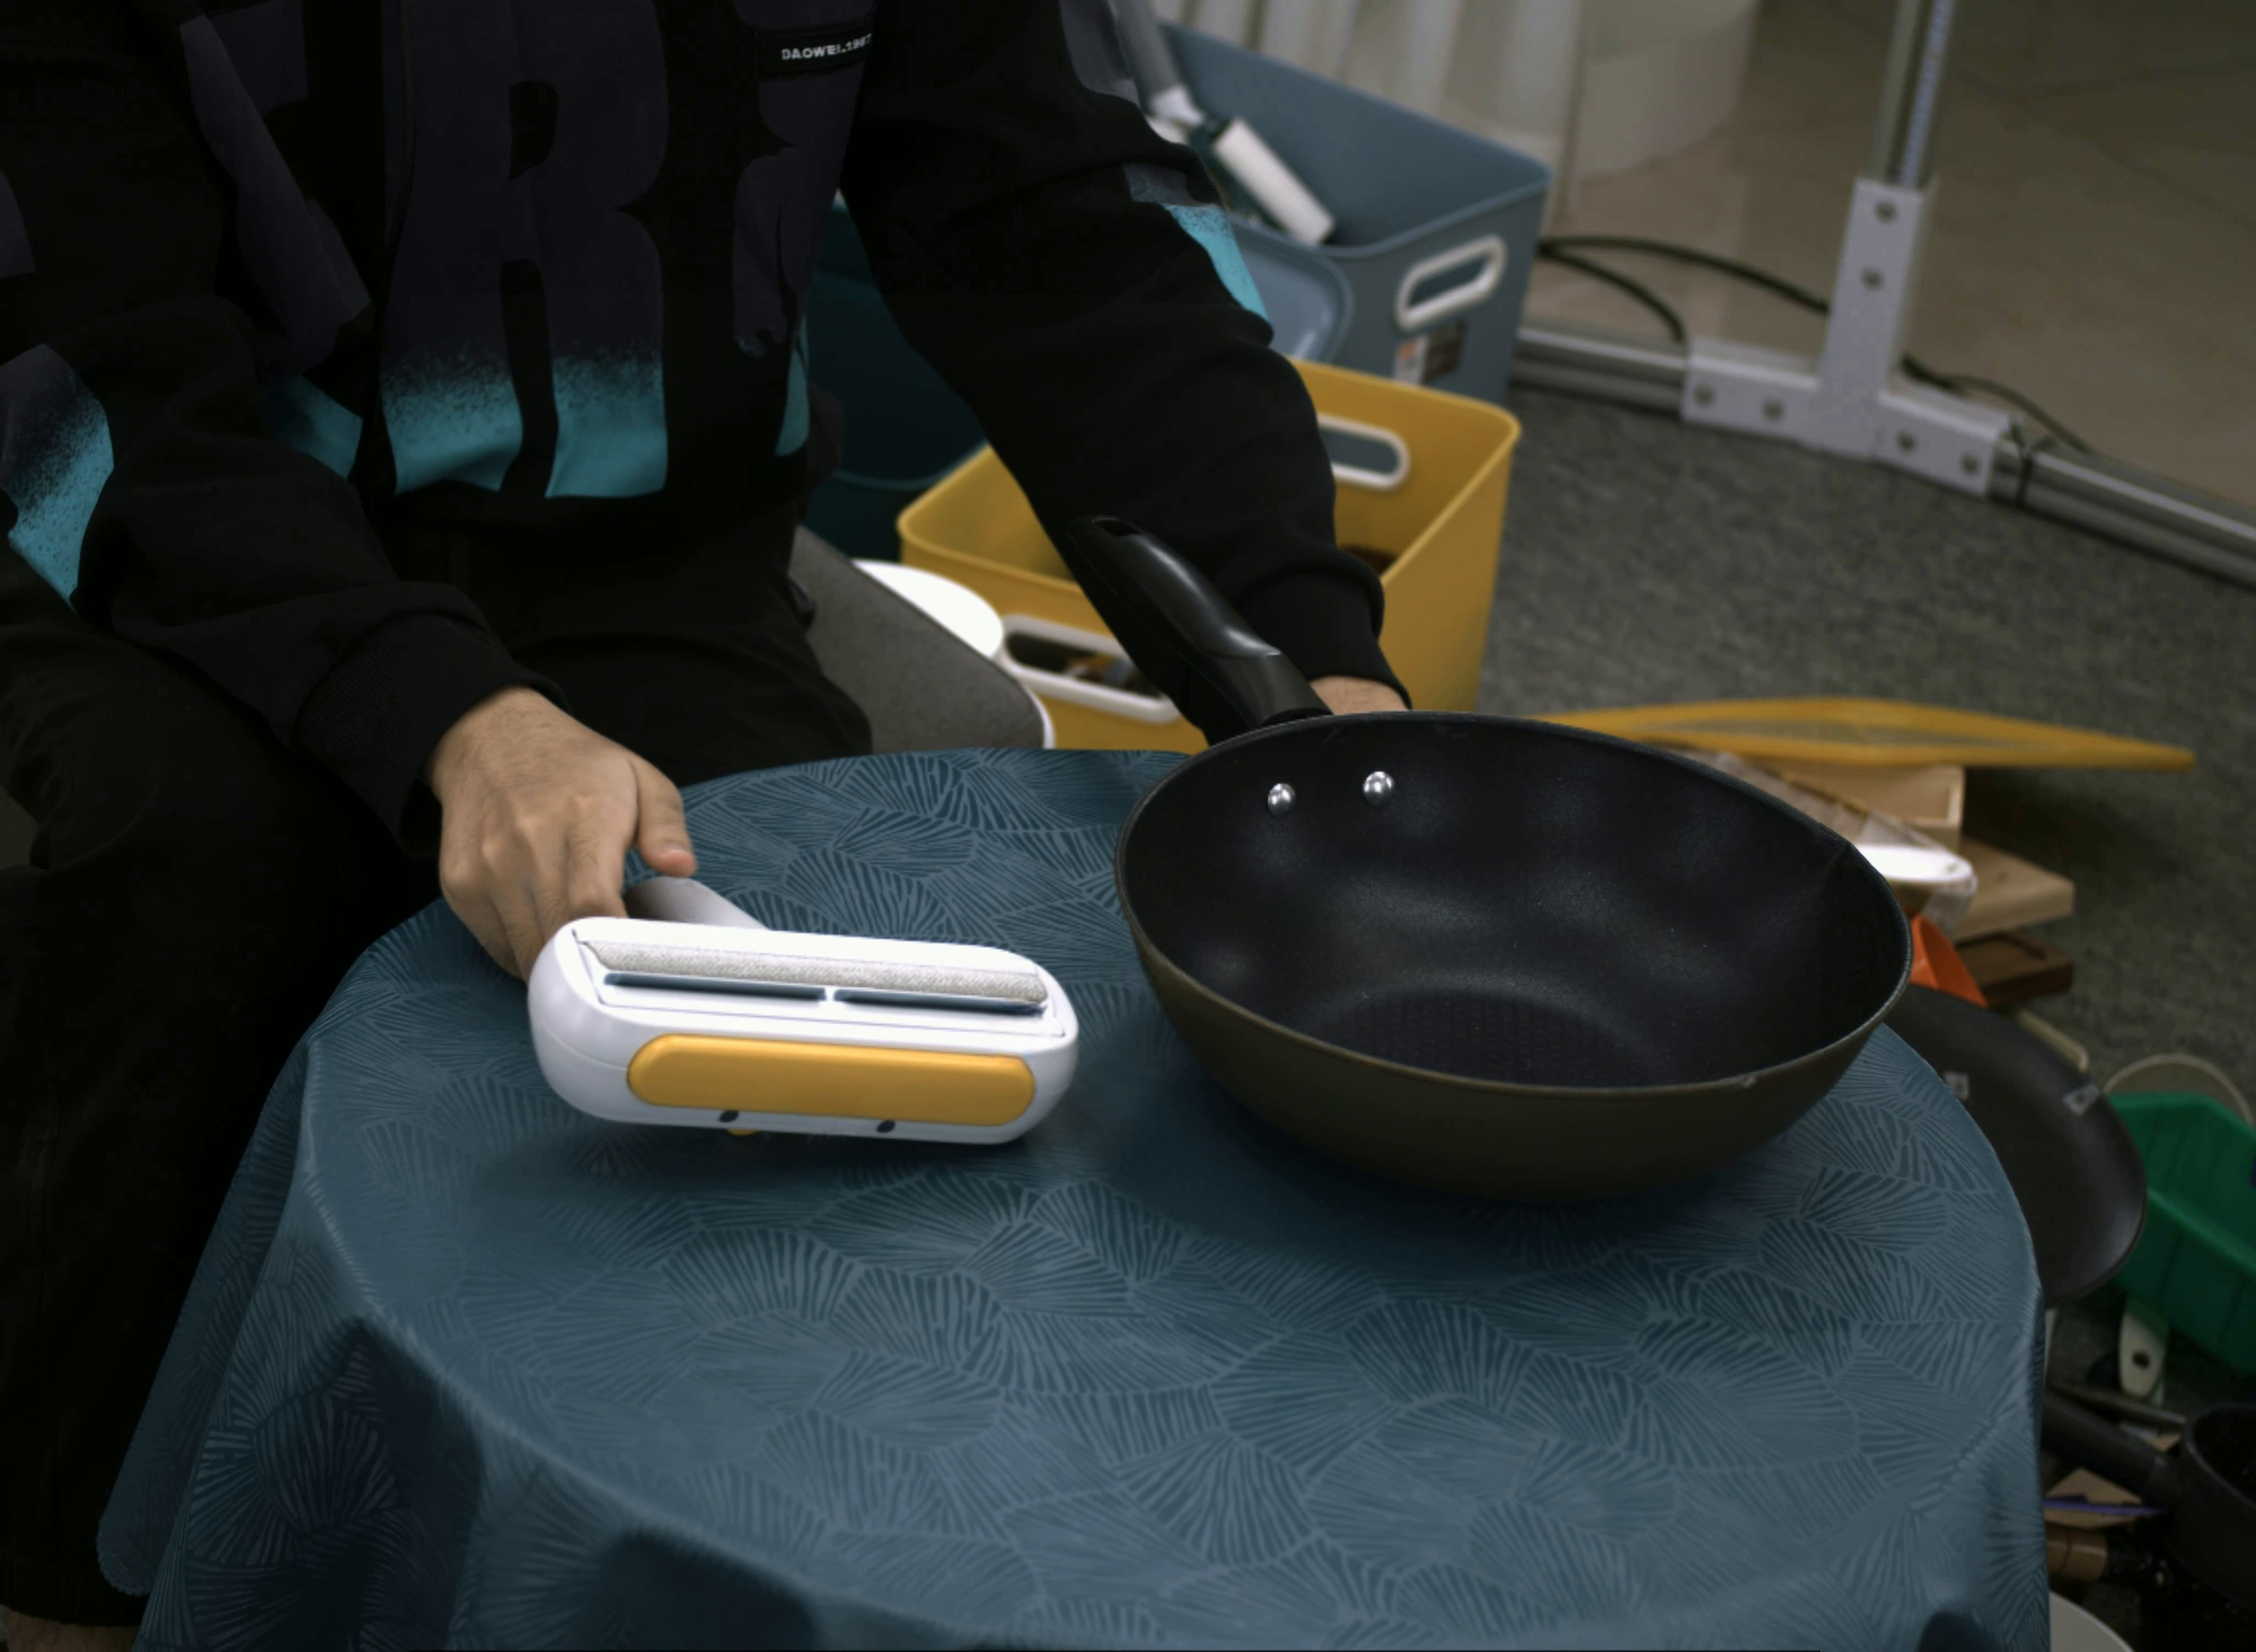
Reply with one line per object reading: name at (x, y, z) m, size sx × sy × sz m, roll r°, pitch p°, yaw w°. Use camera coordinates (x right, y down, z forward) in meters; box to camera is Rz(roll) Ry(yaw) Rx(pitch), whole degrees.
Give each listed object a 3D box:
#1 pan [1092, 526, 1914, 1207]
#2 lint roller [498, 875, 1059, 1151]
pan at (0.088, 0.017, 1.937) m, size 0.286 × 0.086 × 0.467 m, roll -8°, pitch 30°, yaw -26°
lint roller at (-0.135, 0.050, 1.839) m, size 0.191 × 0.074 × 0.194 m, roll 2°, pitch 25°, yaw -20°
